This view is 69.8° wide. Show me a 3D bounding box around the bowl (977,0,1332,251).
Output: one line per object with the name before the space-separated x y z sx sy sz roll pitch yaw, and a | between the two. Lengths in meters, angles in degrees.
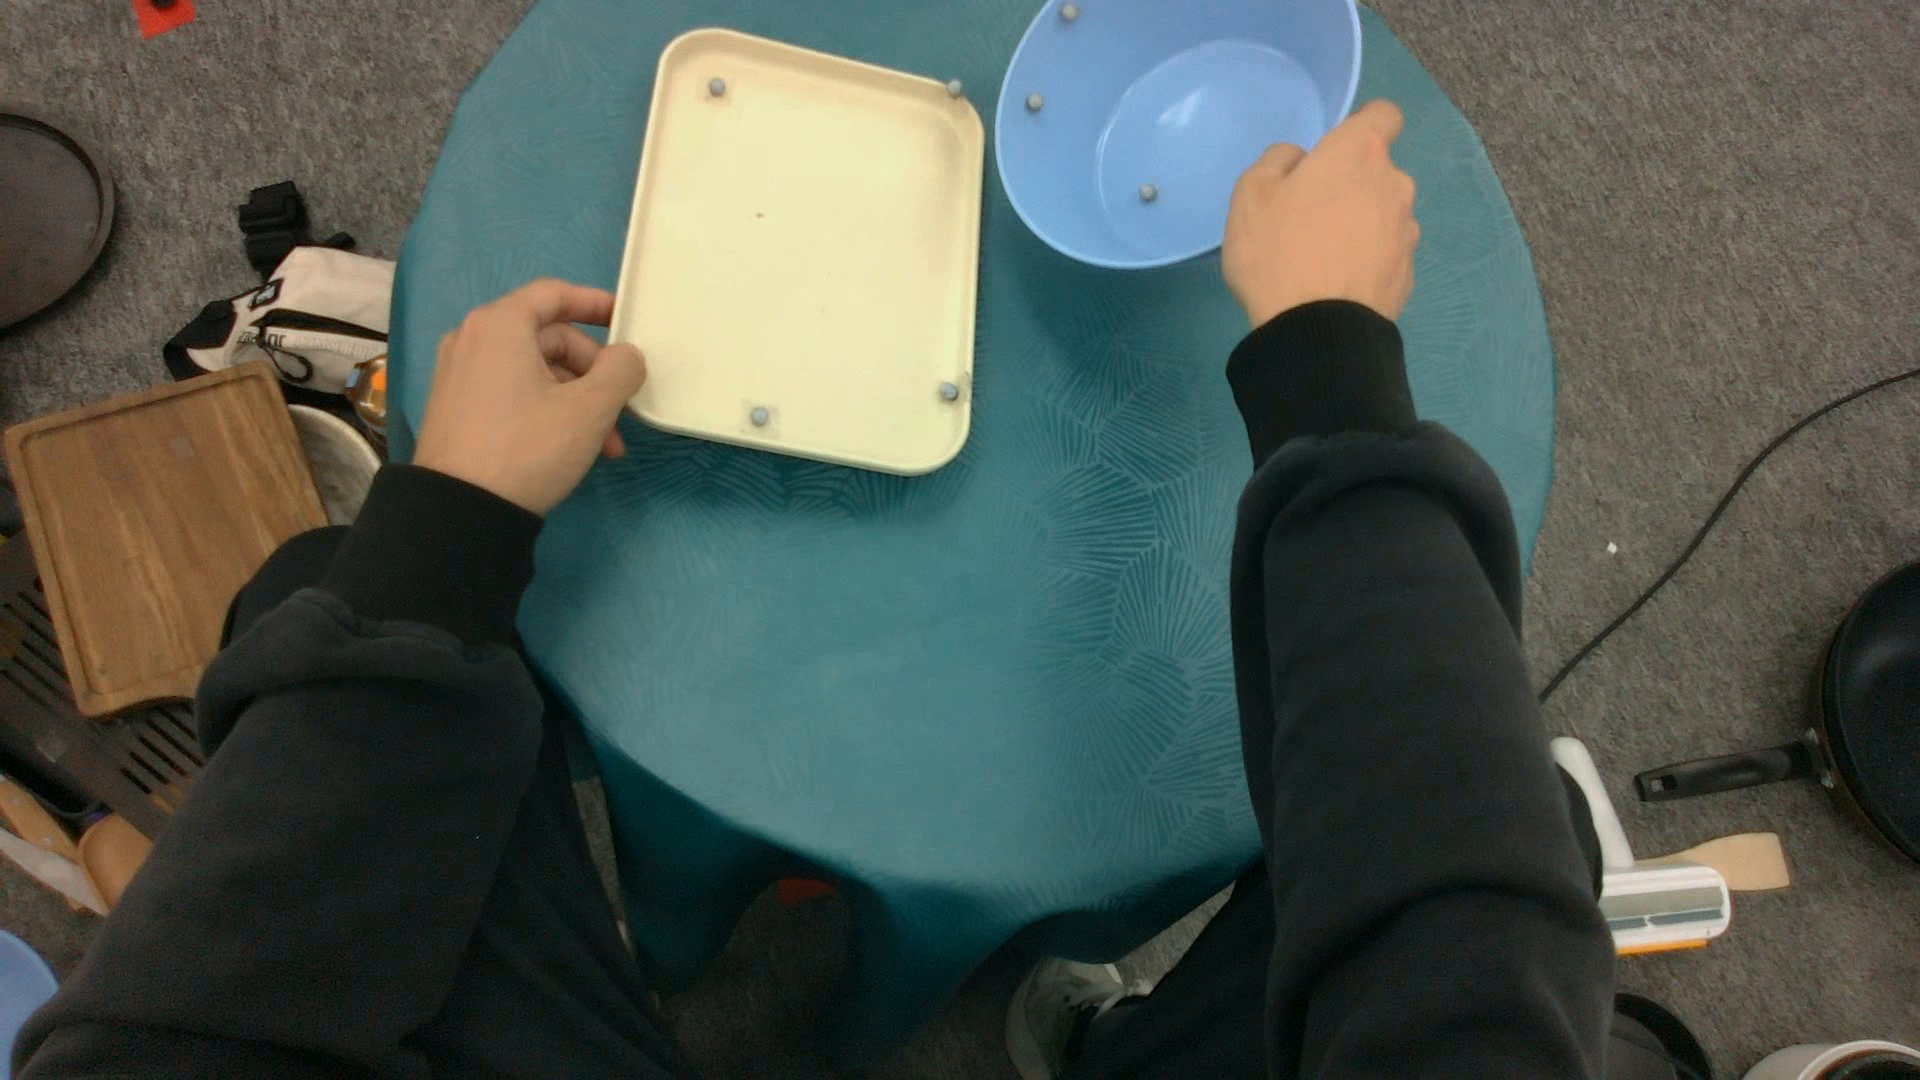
bowl | 0.100 -0.209 0.666 0.175 0.070 0.176 -8 72 27

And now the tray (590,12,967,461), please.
tray | -0.082 -0.152 0.678 0.171 0.017 0.240 10 63 -15
